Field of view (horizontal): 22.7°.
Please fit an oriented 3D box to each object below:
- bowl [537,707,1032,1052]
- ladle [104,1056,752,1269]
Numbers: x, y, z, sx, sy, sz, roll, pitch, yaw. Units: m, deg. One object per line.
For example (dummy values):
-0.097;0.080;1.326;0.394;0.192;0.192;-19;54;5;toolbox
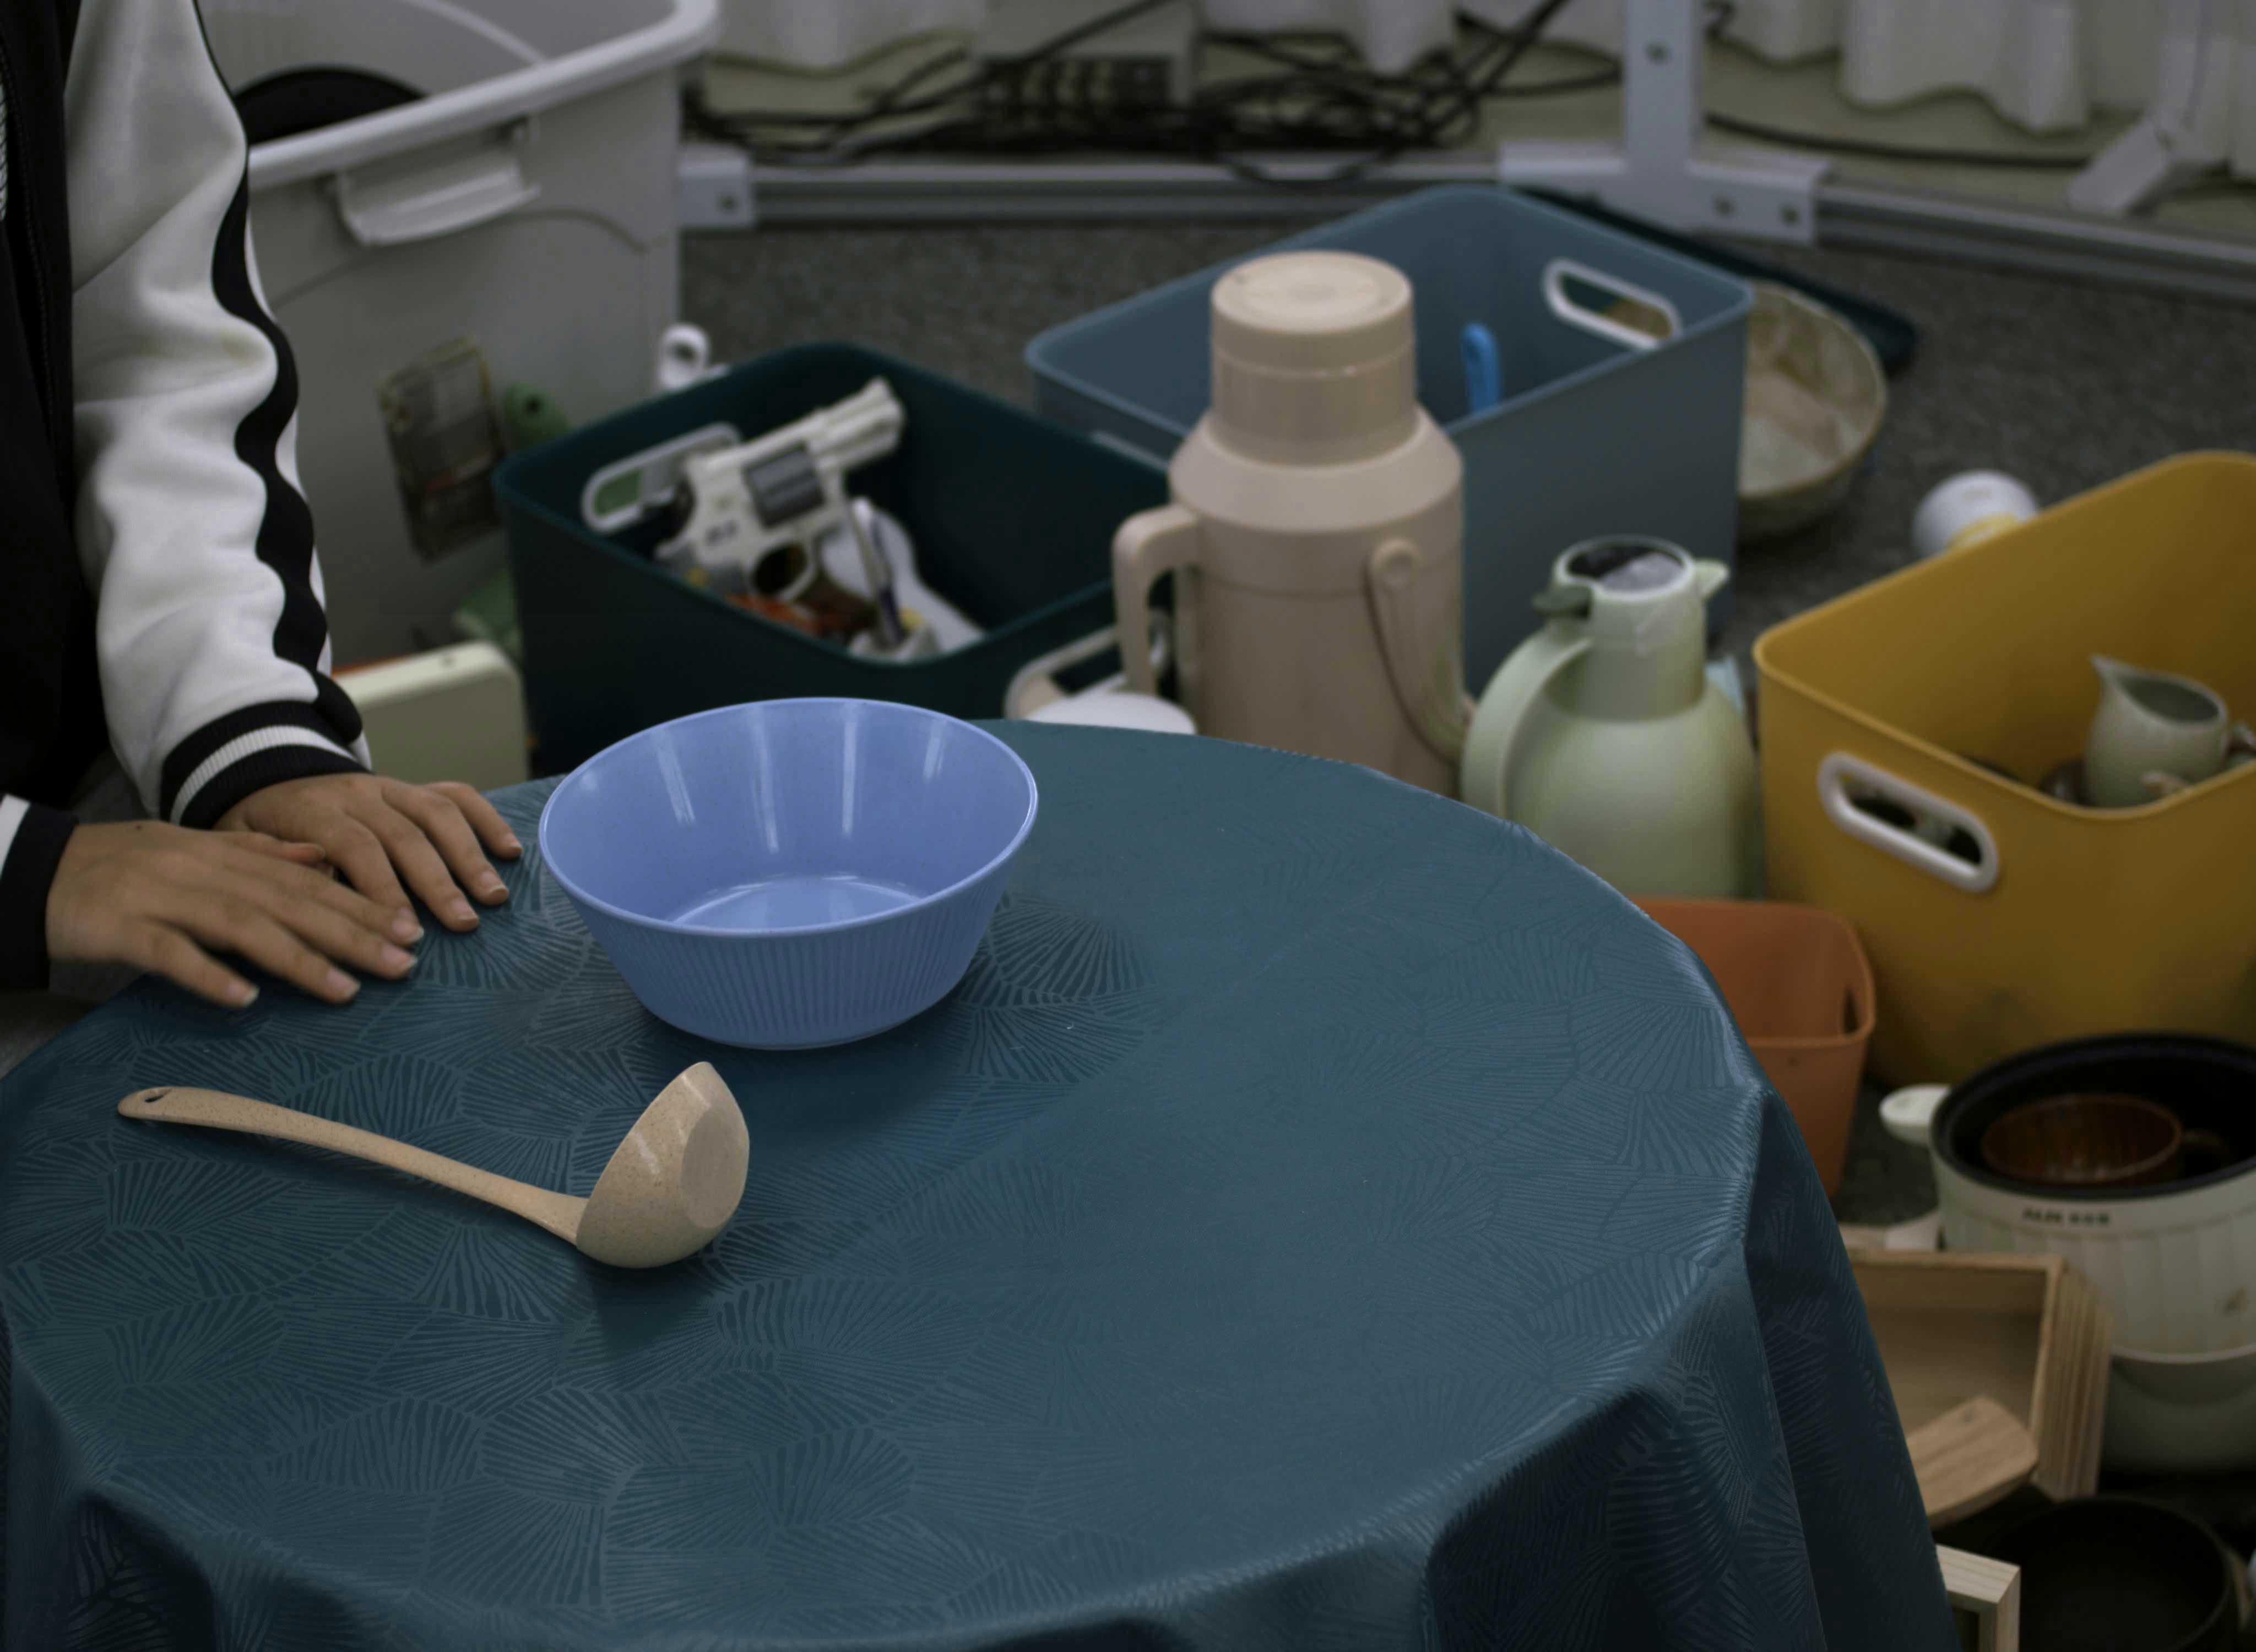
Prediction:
-0.119;0.024;1.986;0.175;0.069;0.179;-2;26;1;bowl
-0.242;0.092;1.865;0.253;0.072;0.073;11;33;25;ladle
